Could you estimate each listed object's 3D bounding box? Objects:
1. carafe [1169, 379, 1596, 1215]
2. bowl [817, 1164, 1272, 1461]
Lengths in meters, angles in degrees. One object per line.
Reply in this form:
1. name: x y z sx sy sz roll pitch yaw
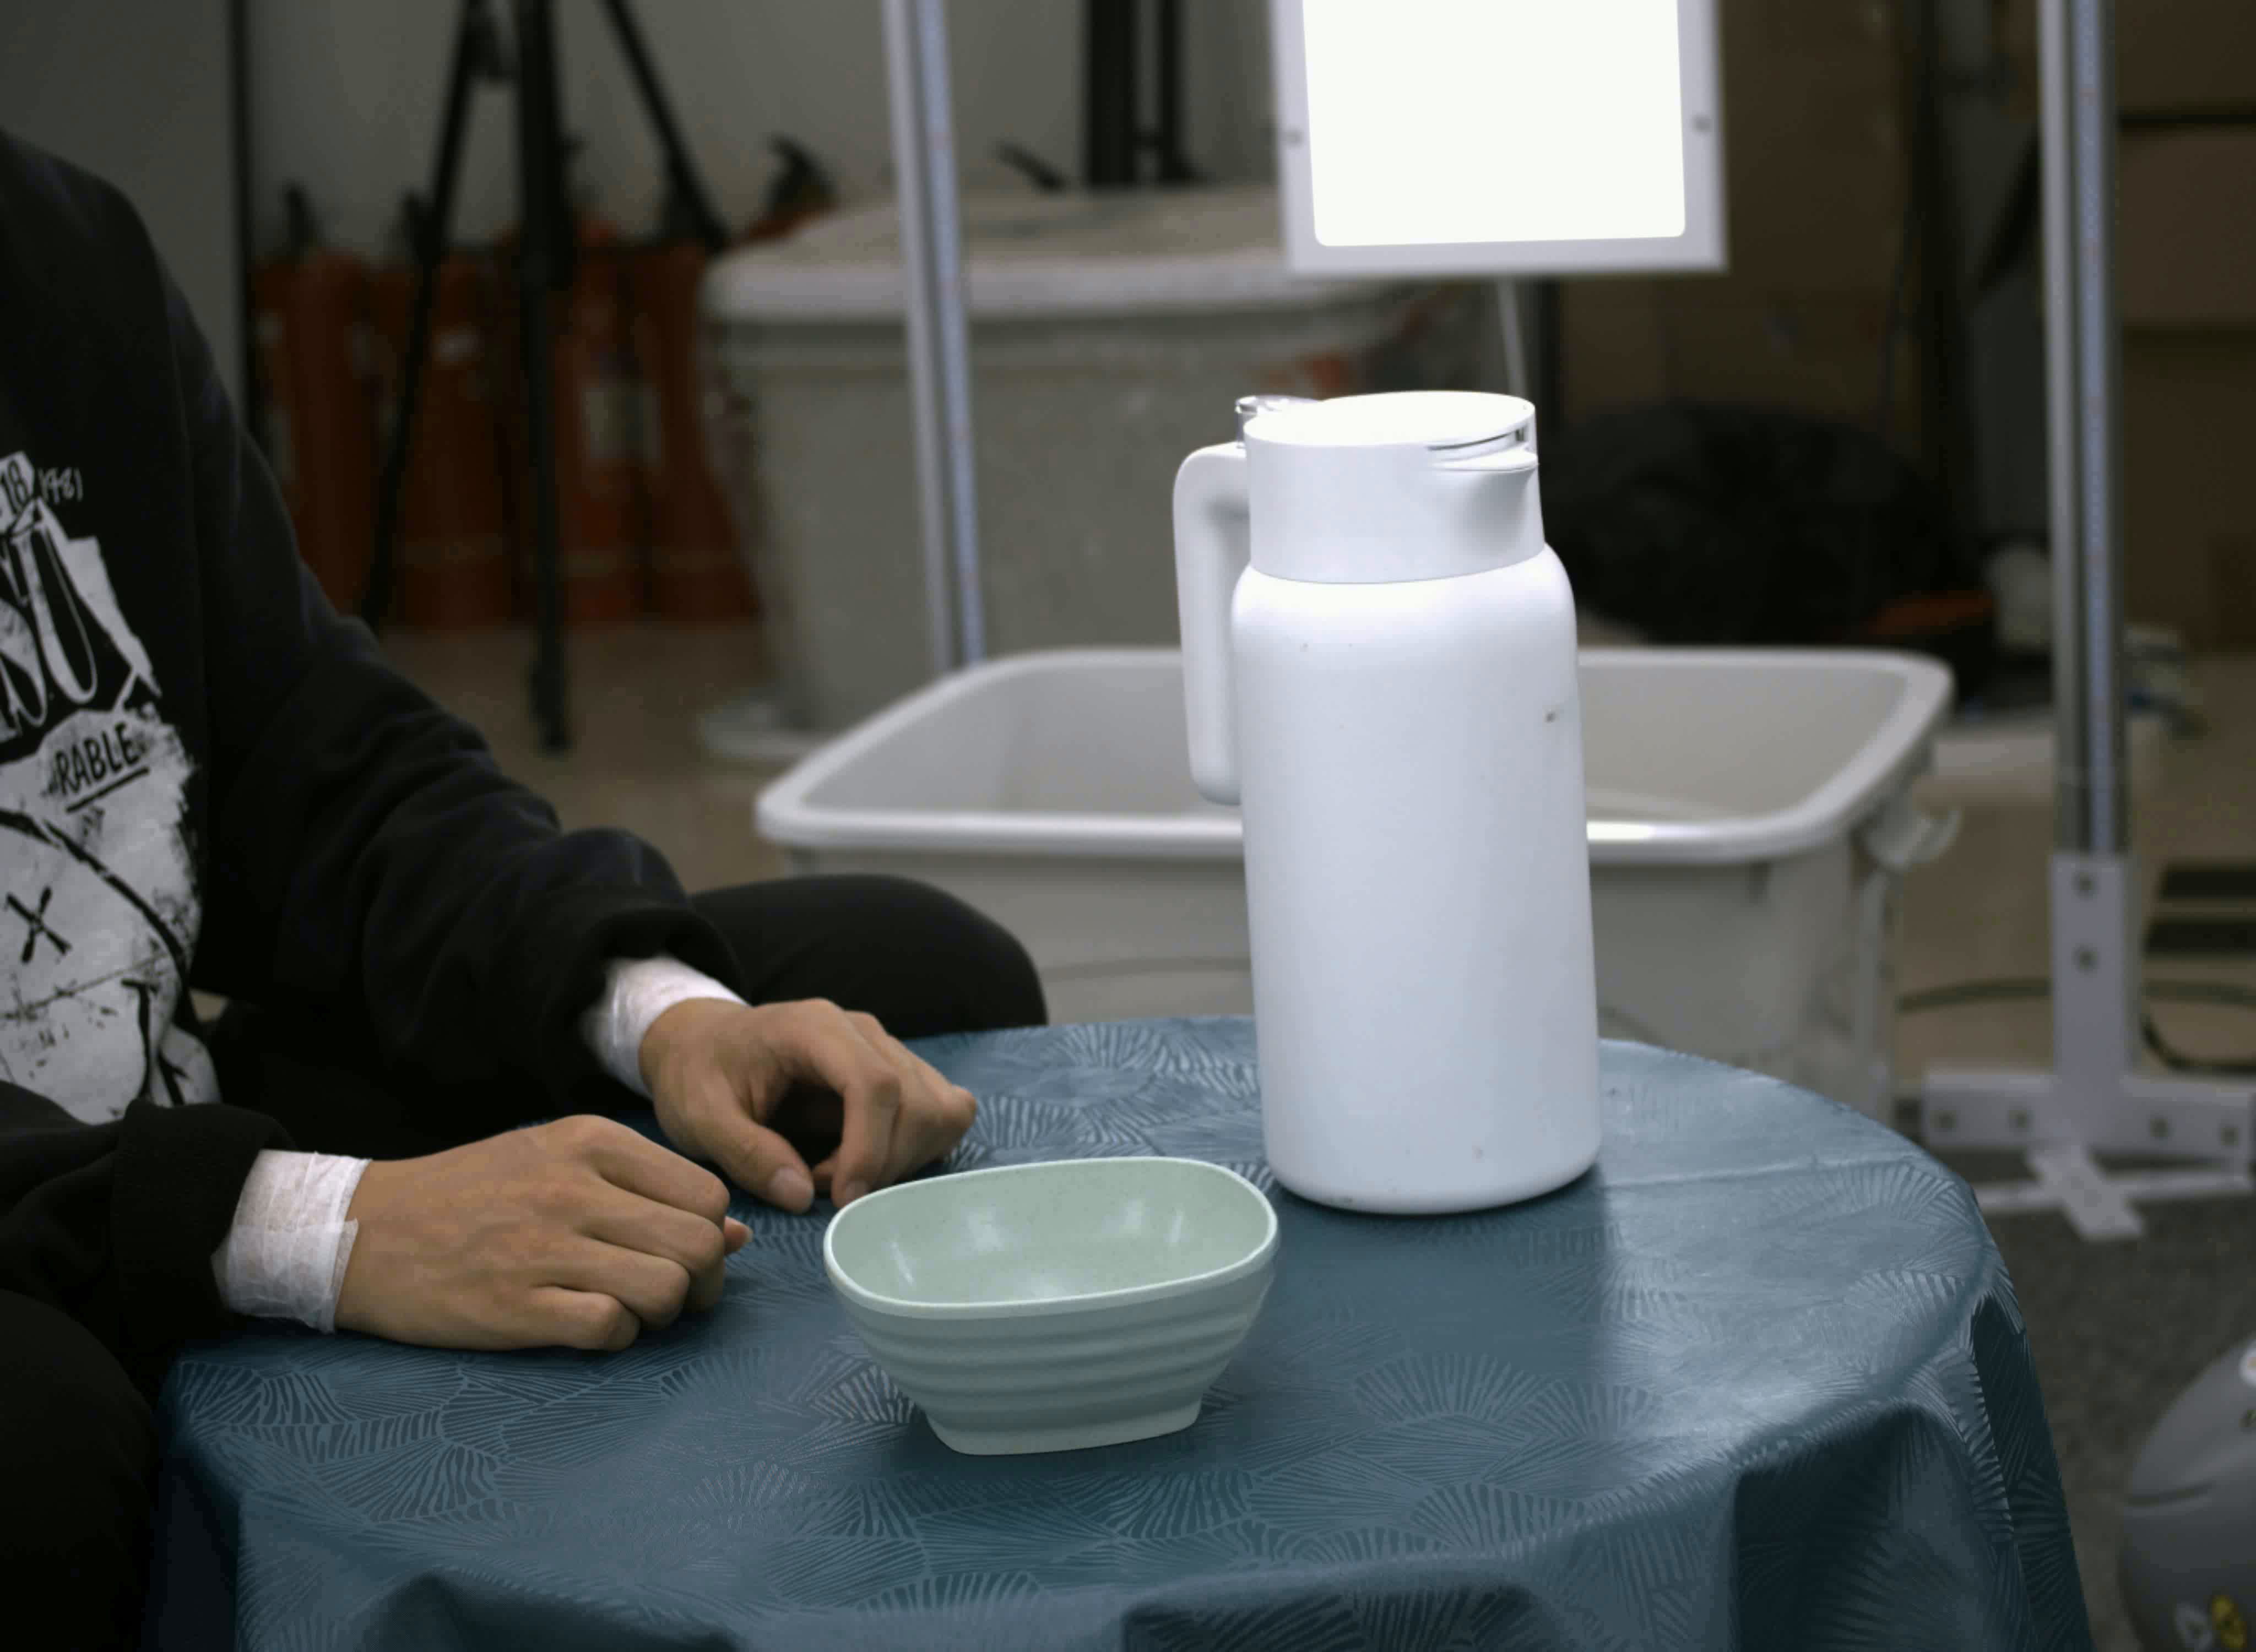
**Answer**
1. carafe: 0.083 -0.012 1.872 0.121 0.270 0.176 -17 19 -36
2. bowl: -0.024 0.152 1.690 0.151 0.059 0.151 -4 14 0
